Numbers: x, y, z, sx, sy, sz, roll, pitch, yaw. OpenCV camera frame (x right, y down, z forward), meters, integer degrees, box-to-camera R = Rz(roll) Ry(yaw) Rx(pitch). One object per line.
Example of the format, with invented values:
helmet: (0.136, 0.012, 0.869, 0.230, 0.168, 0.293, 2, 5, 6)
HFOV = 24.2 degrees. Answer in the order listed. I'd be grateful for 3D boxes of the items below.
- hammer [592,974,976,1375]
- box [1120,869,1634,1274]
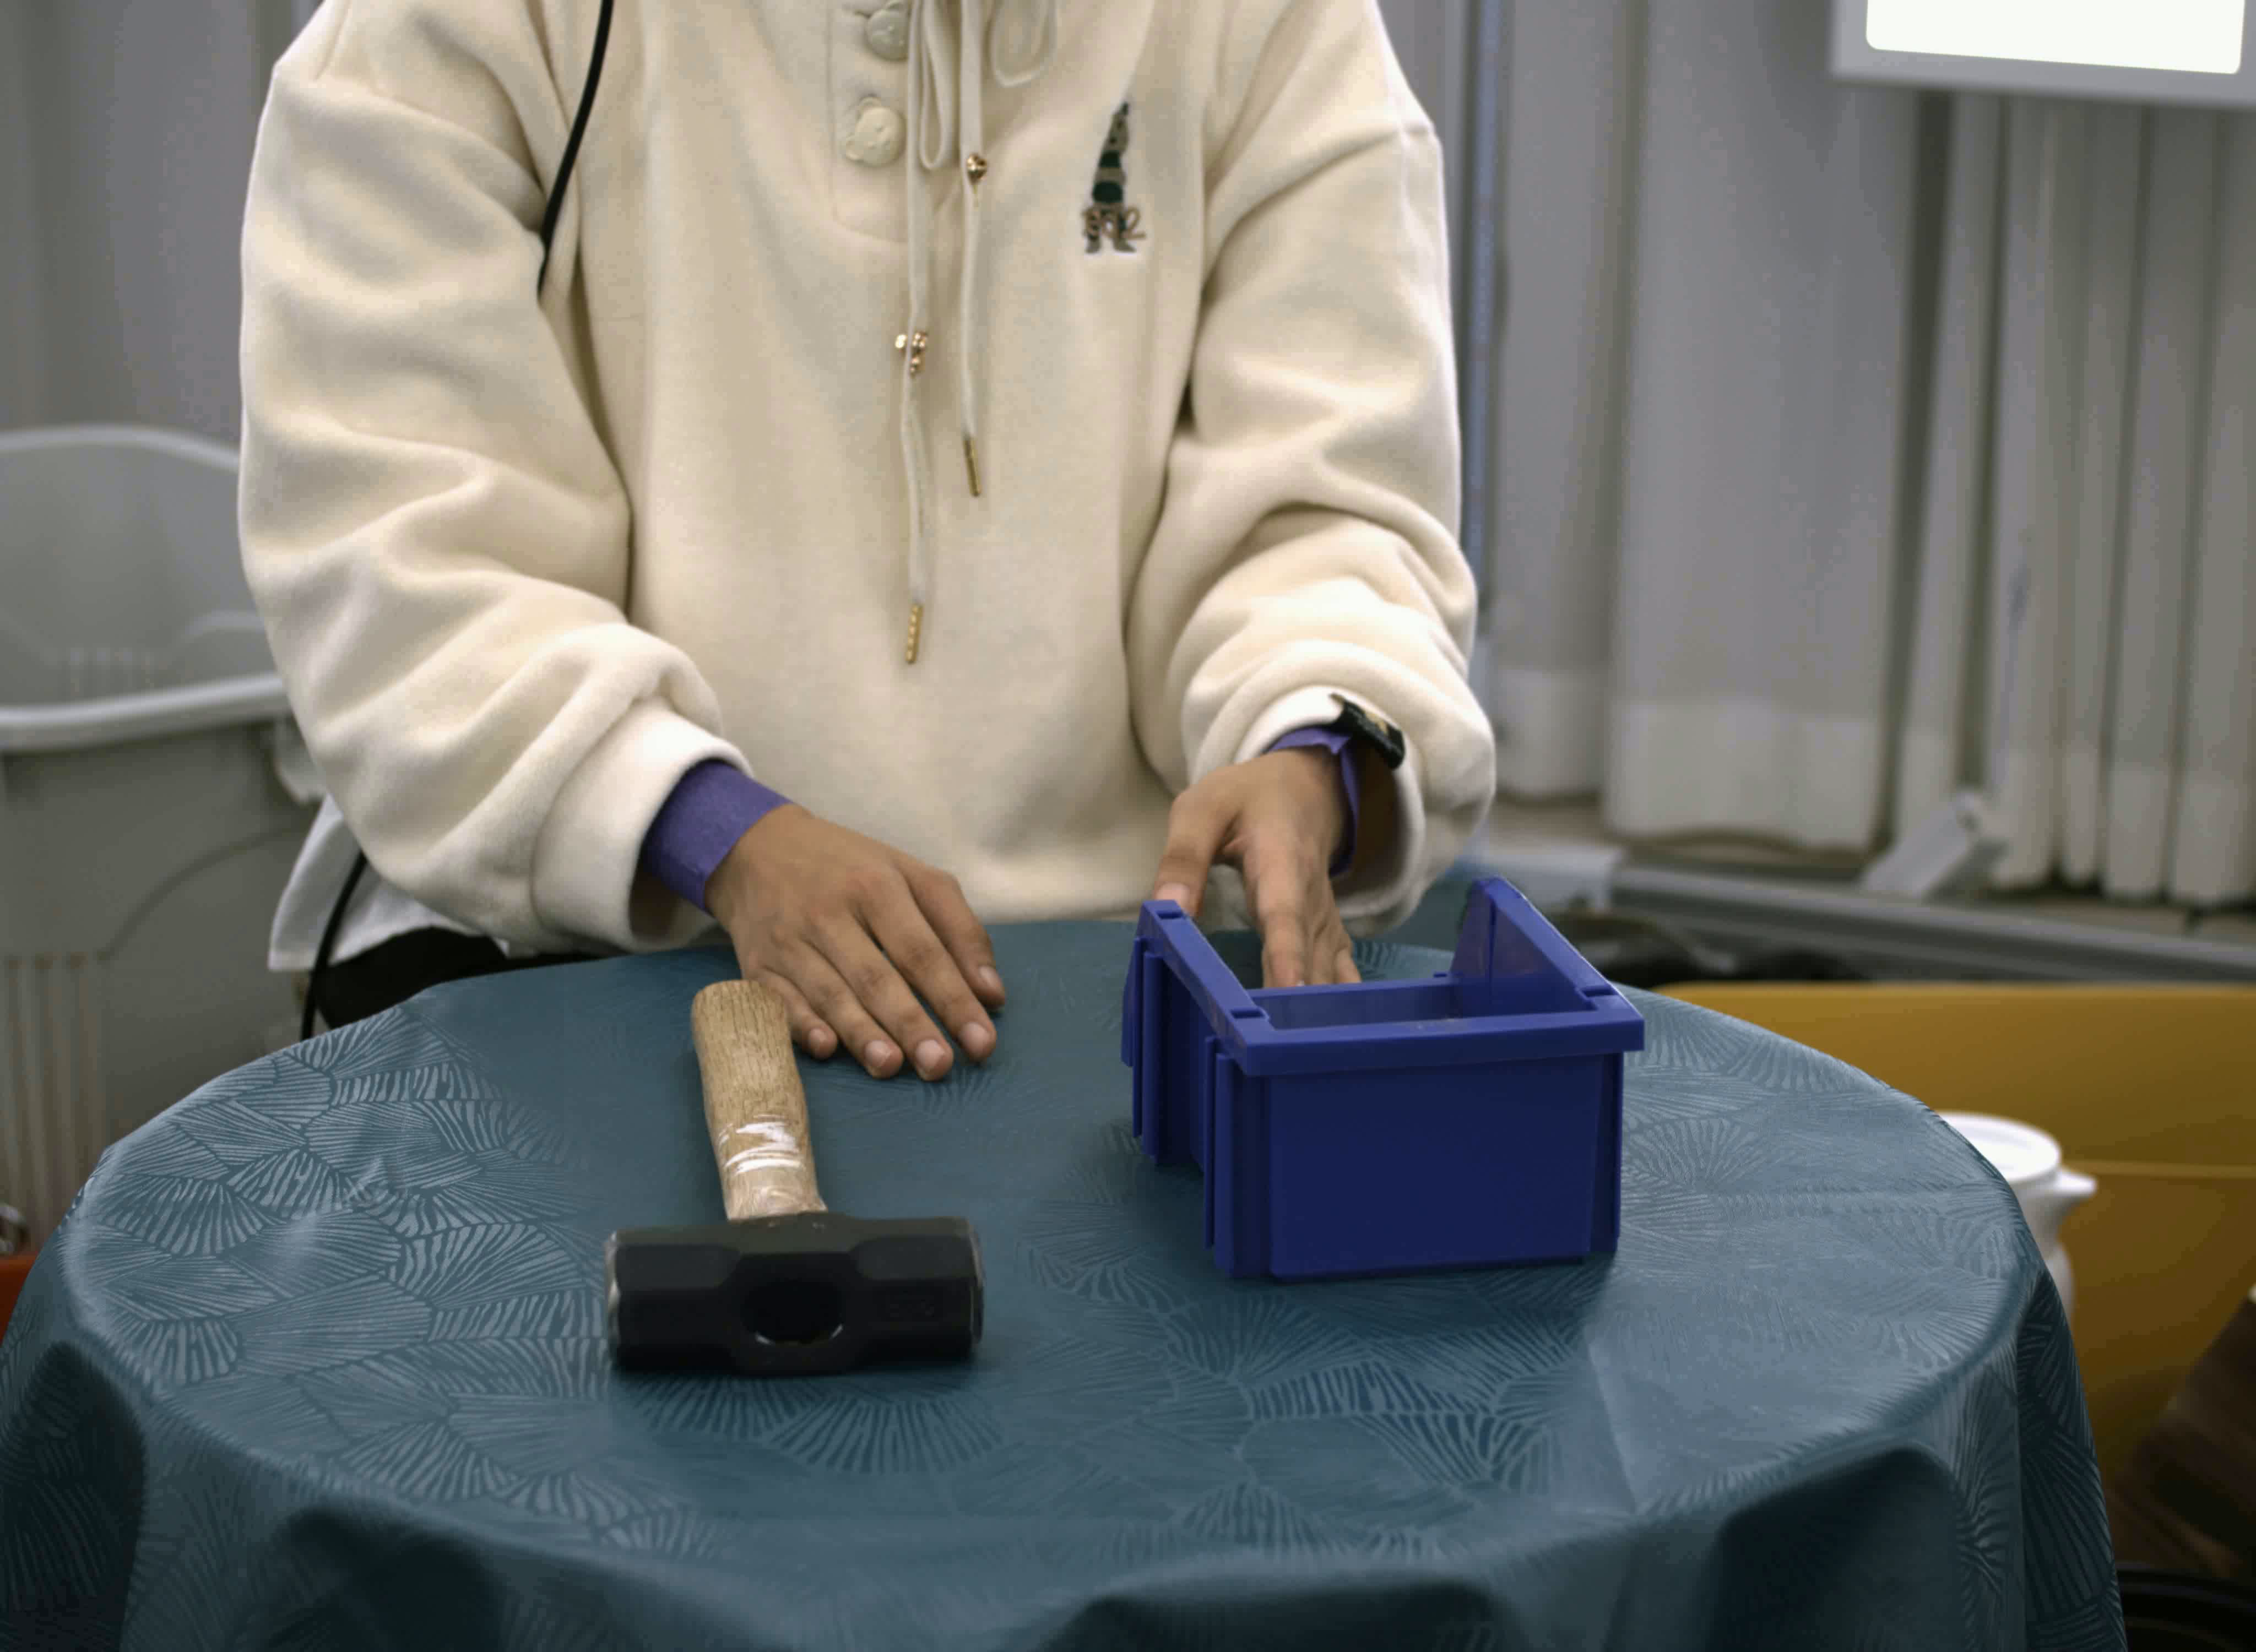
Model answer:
hammer: (-0.107, 0.098, 1.606, 0.107, 0.038, 0.303, -1, 14, -5)
box: (0.070, 0.071, 1.621, 0.124, 0.082, 0.177, -3, 18, -11)
